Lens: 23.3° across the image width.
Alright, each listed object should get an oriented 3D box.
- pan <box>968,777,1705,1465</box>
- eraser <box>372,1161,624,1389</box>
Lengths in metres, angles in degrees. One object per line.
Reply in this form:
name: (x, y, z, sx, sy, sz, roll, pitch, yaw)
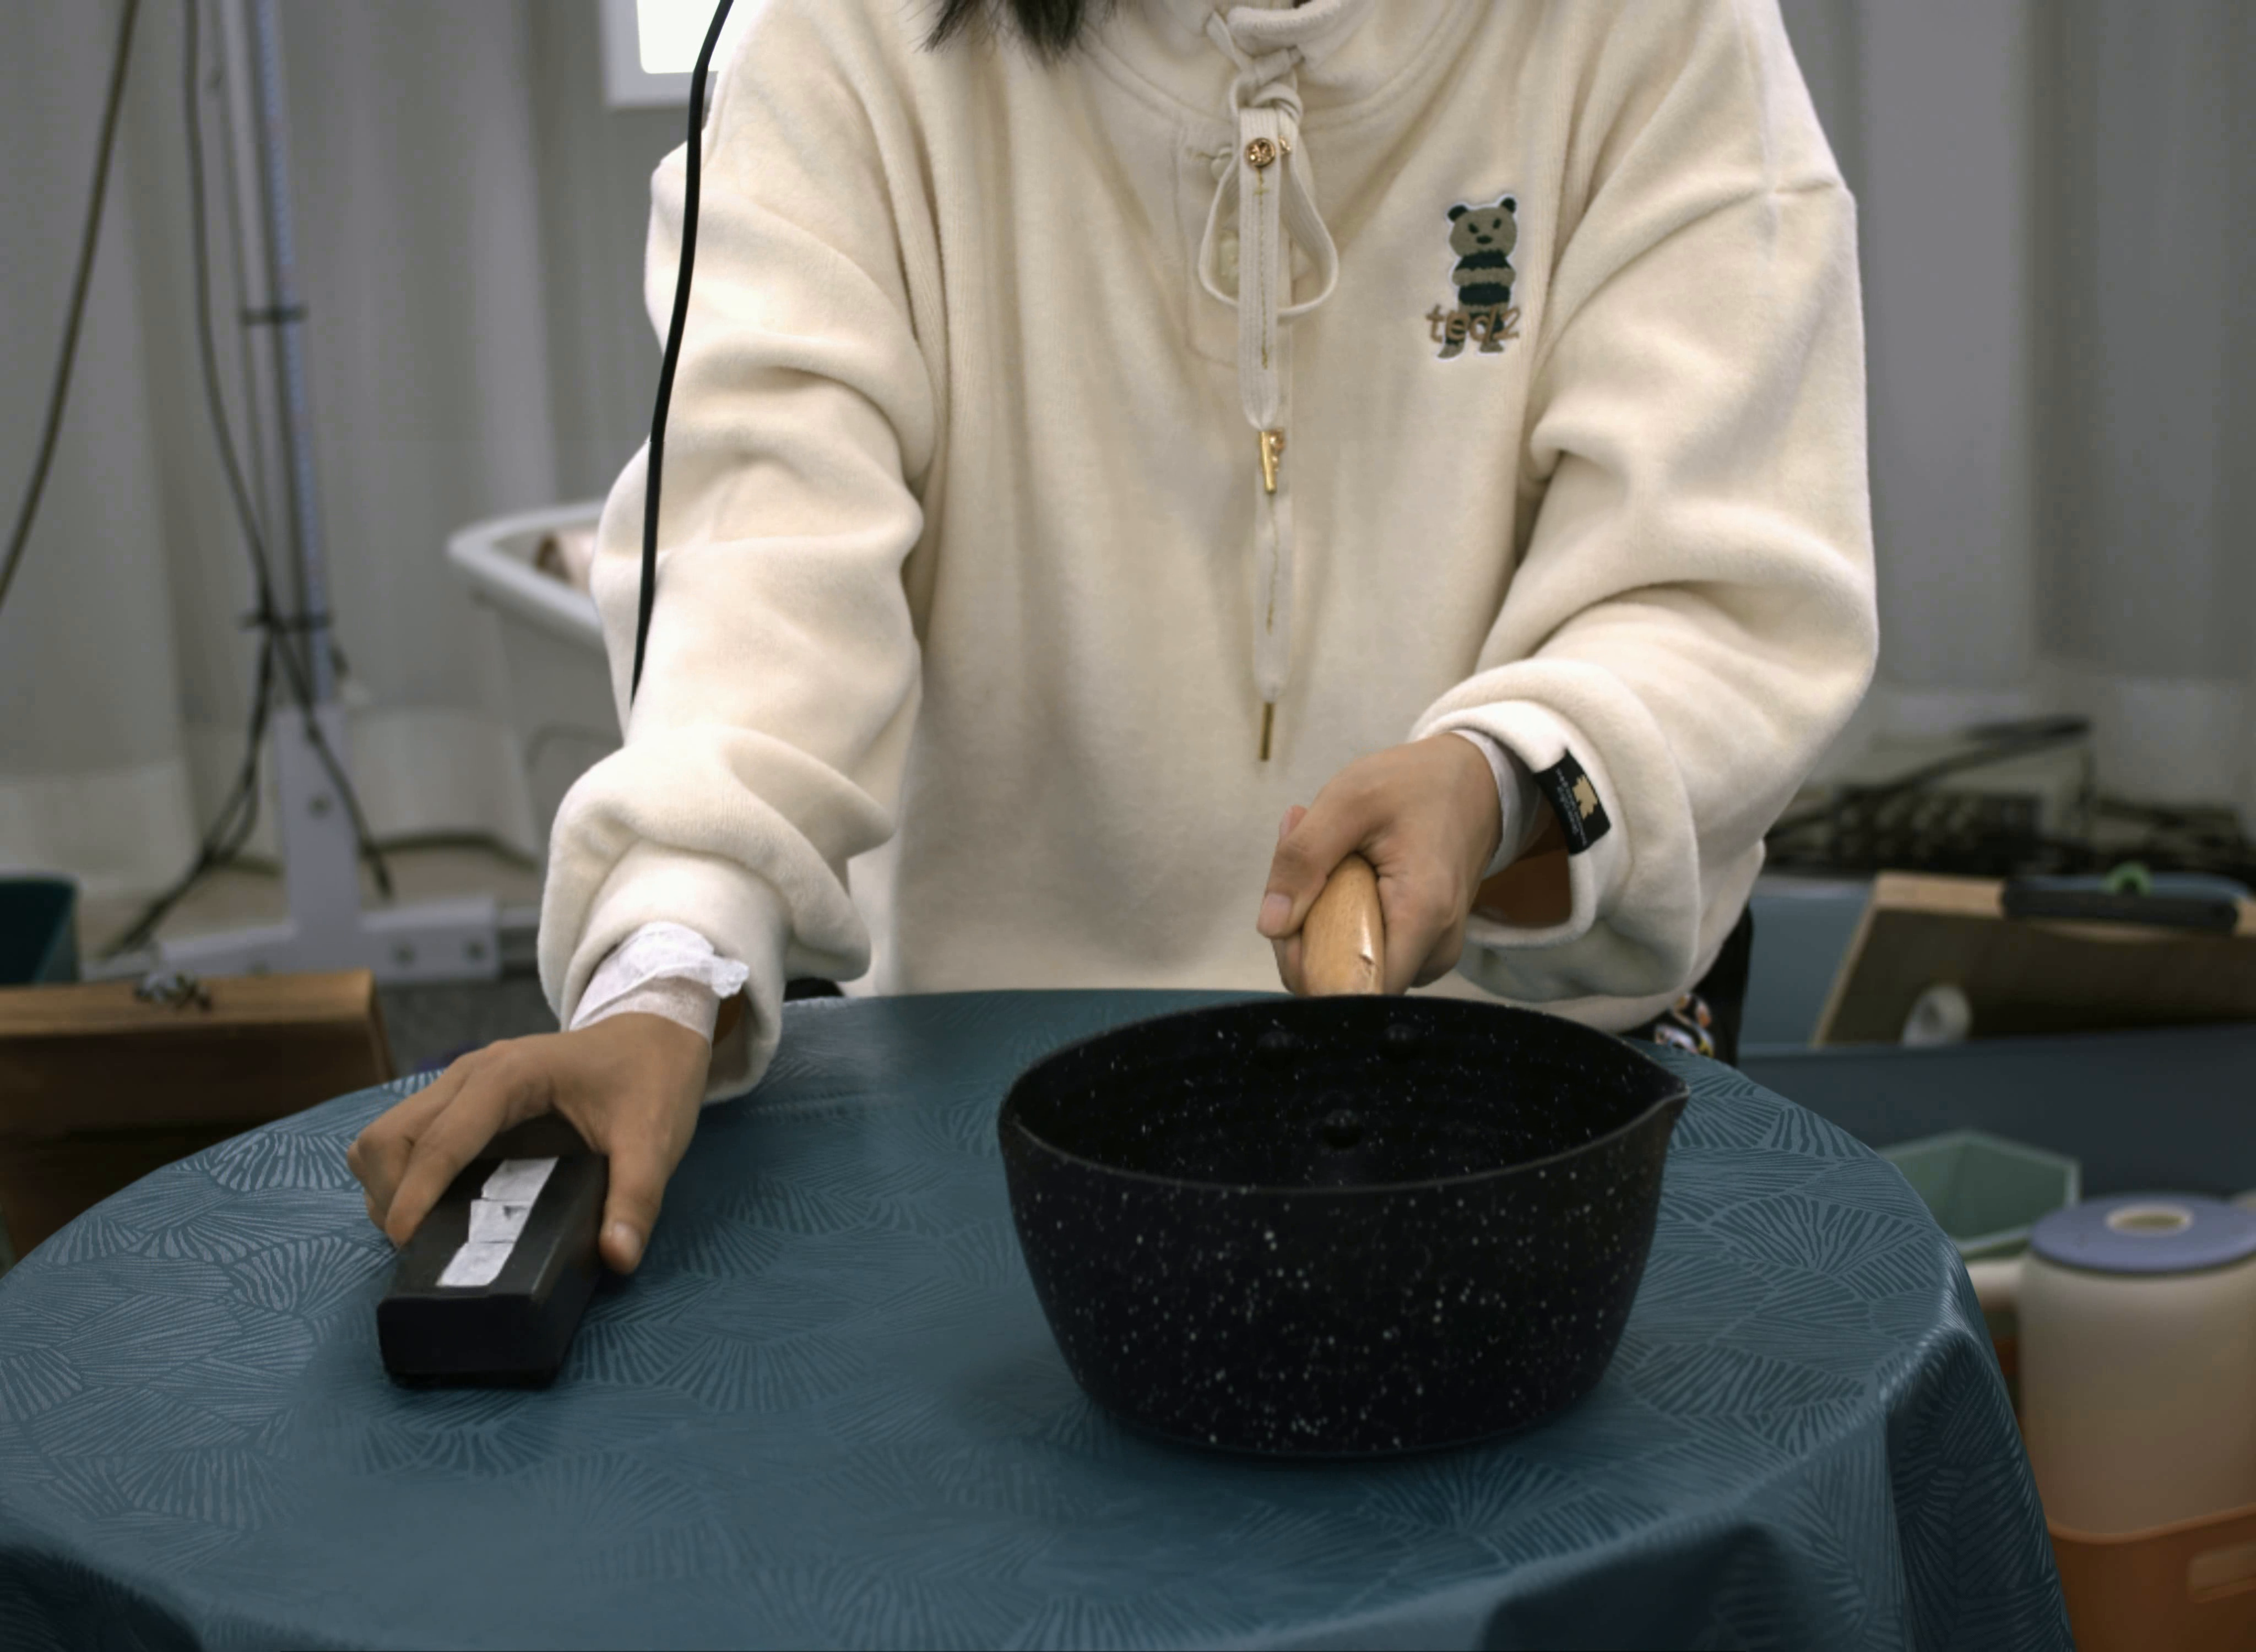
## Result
pan: (0.061, 0.081, 1.609, 0.207, 0.108, 0.345, -2, 16, 3)
eraser: (-0.185, 0.133, 1.624, 0.053, 0.030, 0.126, -2, 15, 5)
